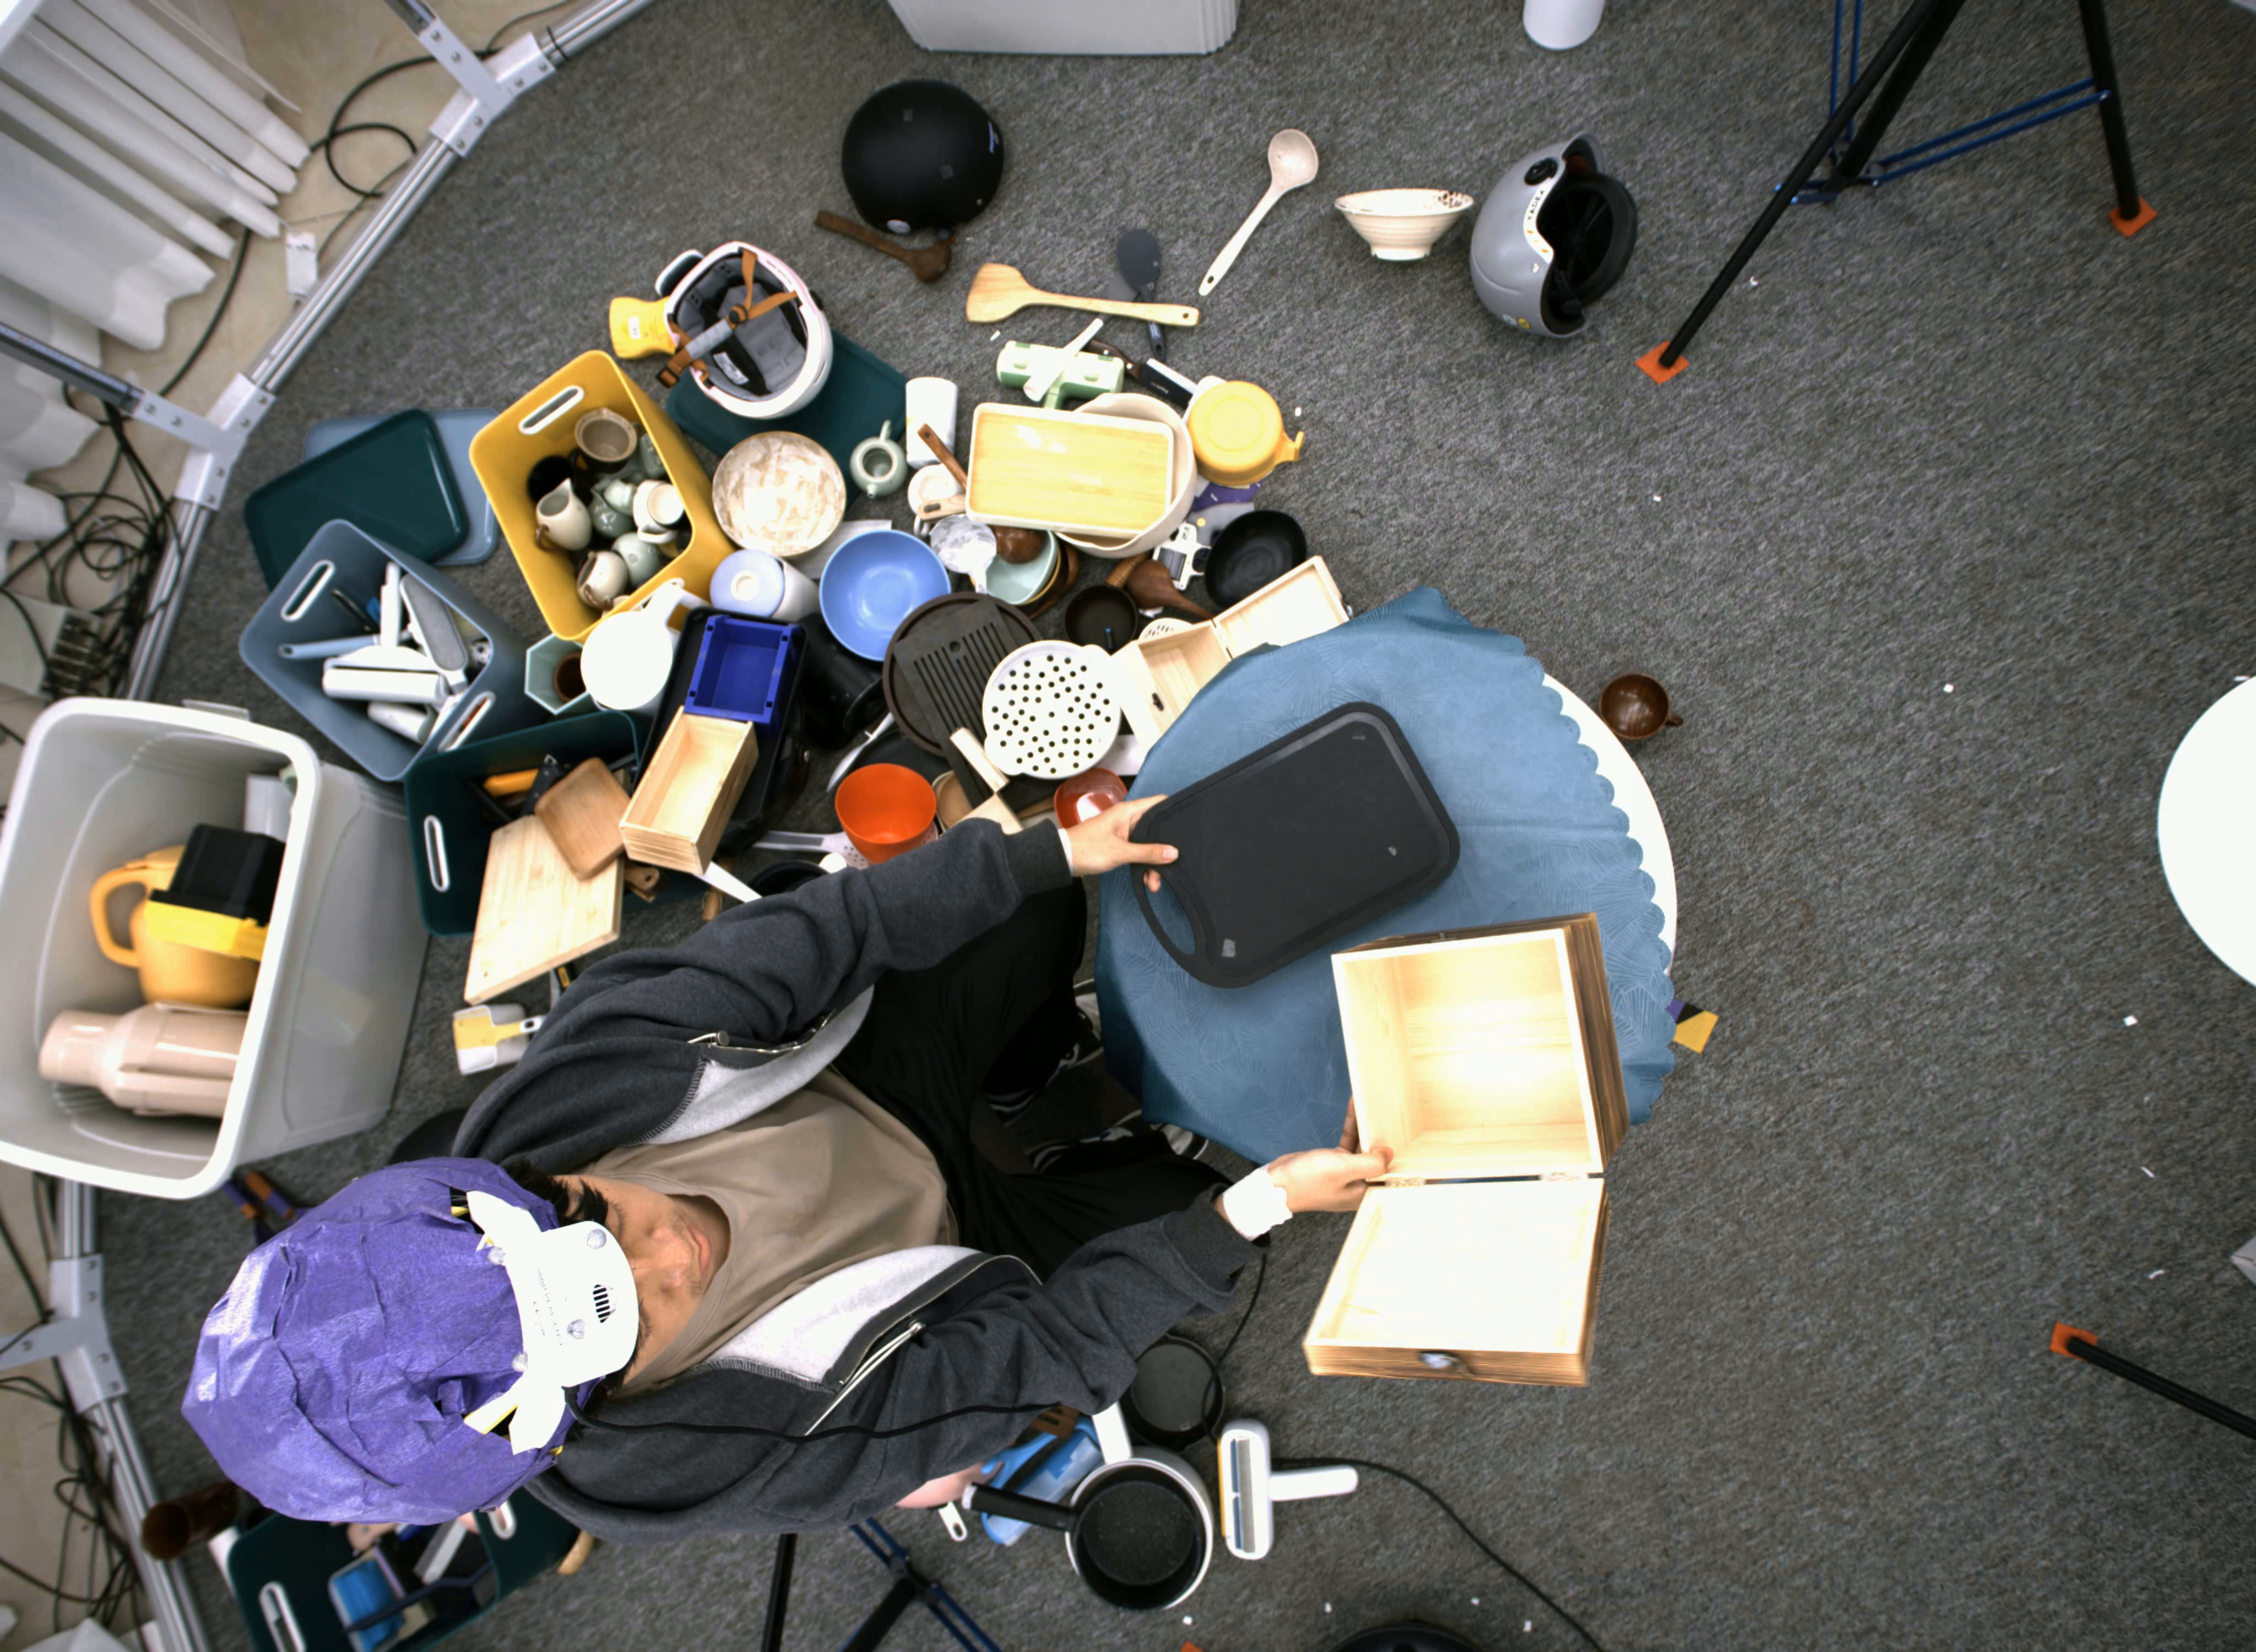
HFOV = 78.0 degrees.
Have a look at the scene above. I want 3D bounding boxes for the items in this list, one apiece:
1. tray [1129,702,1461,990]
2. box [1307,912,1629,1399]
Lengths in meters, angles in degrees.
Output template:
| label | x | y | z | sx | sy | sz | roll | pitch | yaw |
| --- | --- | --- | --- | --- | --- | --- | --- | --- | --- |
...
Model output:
| label | x | y | z | sx | sy | sz | roll | pitch | yaw |
| --- | --- | --- | --- | --- | --- | --- | --- | --- | --- |
| tray | 0.164 | 0.023 | 1.416 | 0.326 | 0.010 | 0.210 | -29 | 86 | 4 |
| box | 0.284 | 0.245 | 1.149 | 0.211 | 0.372 | 0.321 | -10 | 89 | 28 |
